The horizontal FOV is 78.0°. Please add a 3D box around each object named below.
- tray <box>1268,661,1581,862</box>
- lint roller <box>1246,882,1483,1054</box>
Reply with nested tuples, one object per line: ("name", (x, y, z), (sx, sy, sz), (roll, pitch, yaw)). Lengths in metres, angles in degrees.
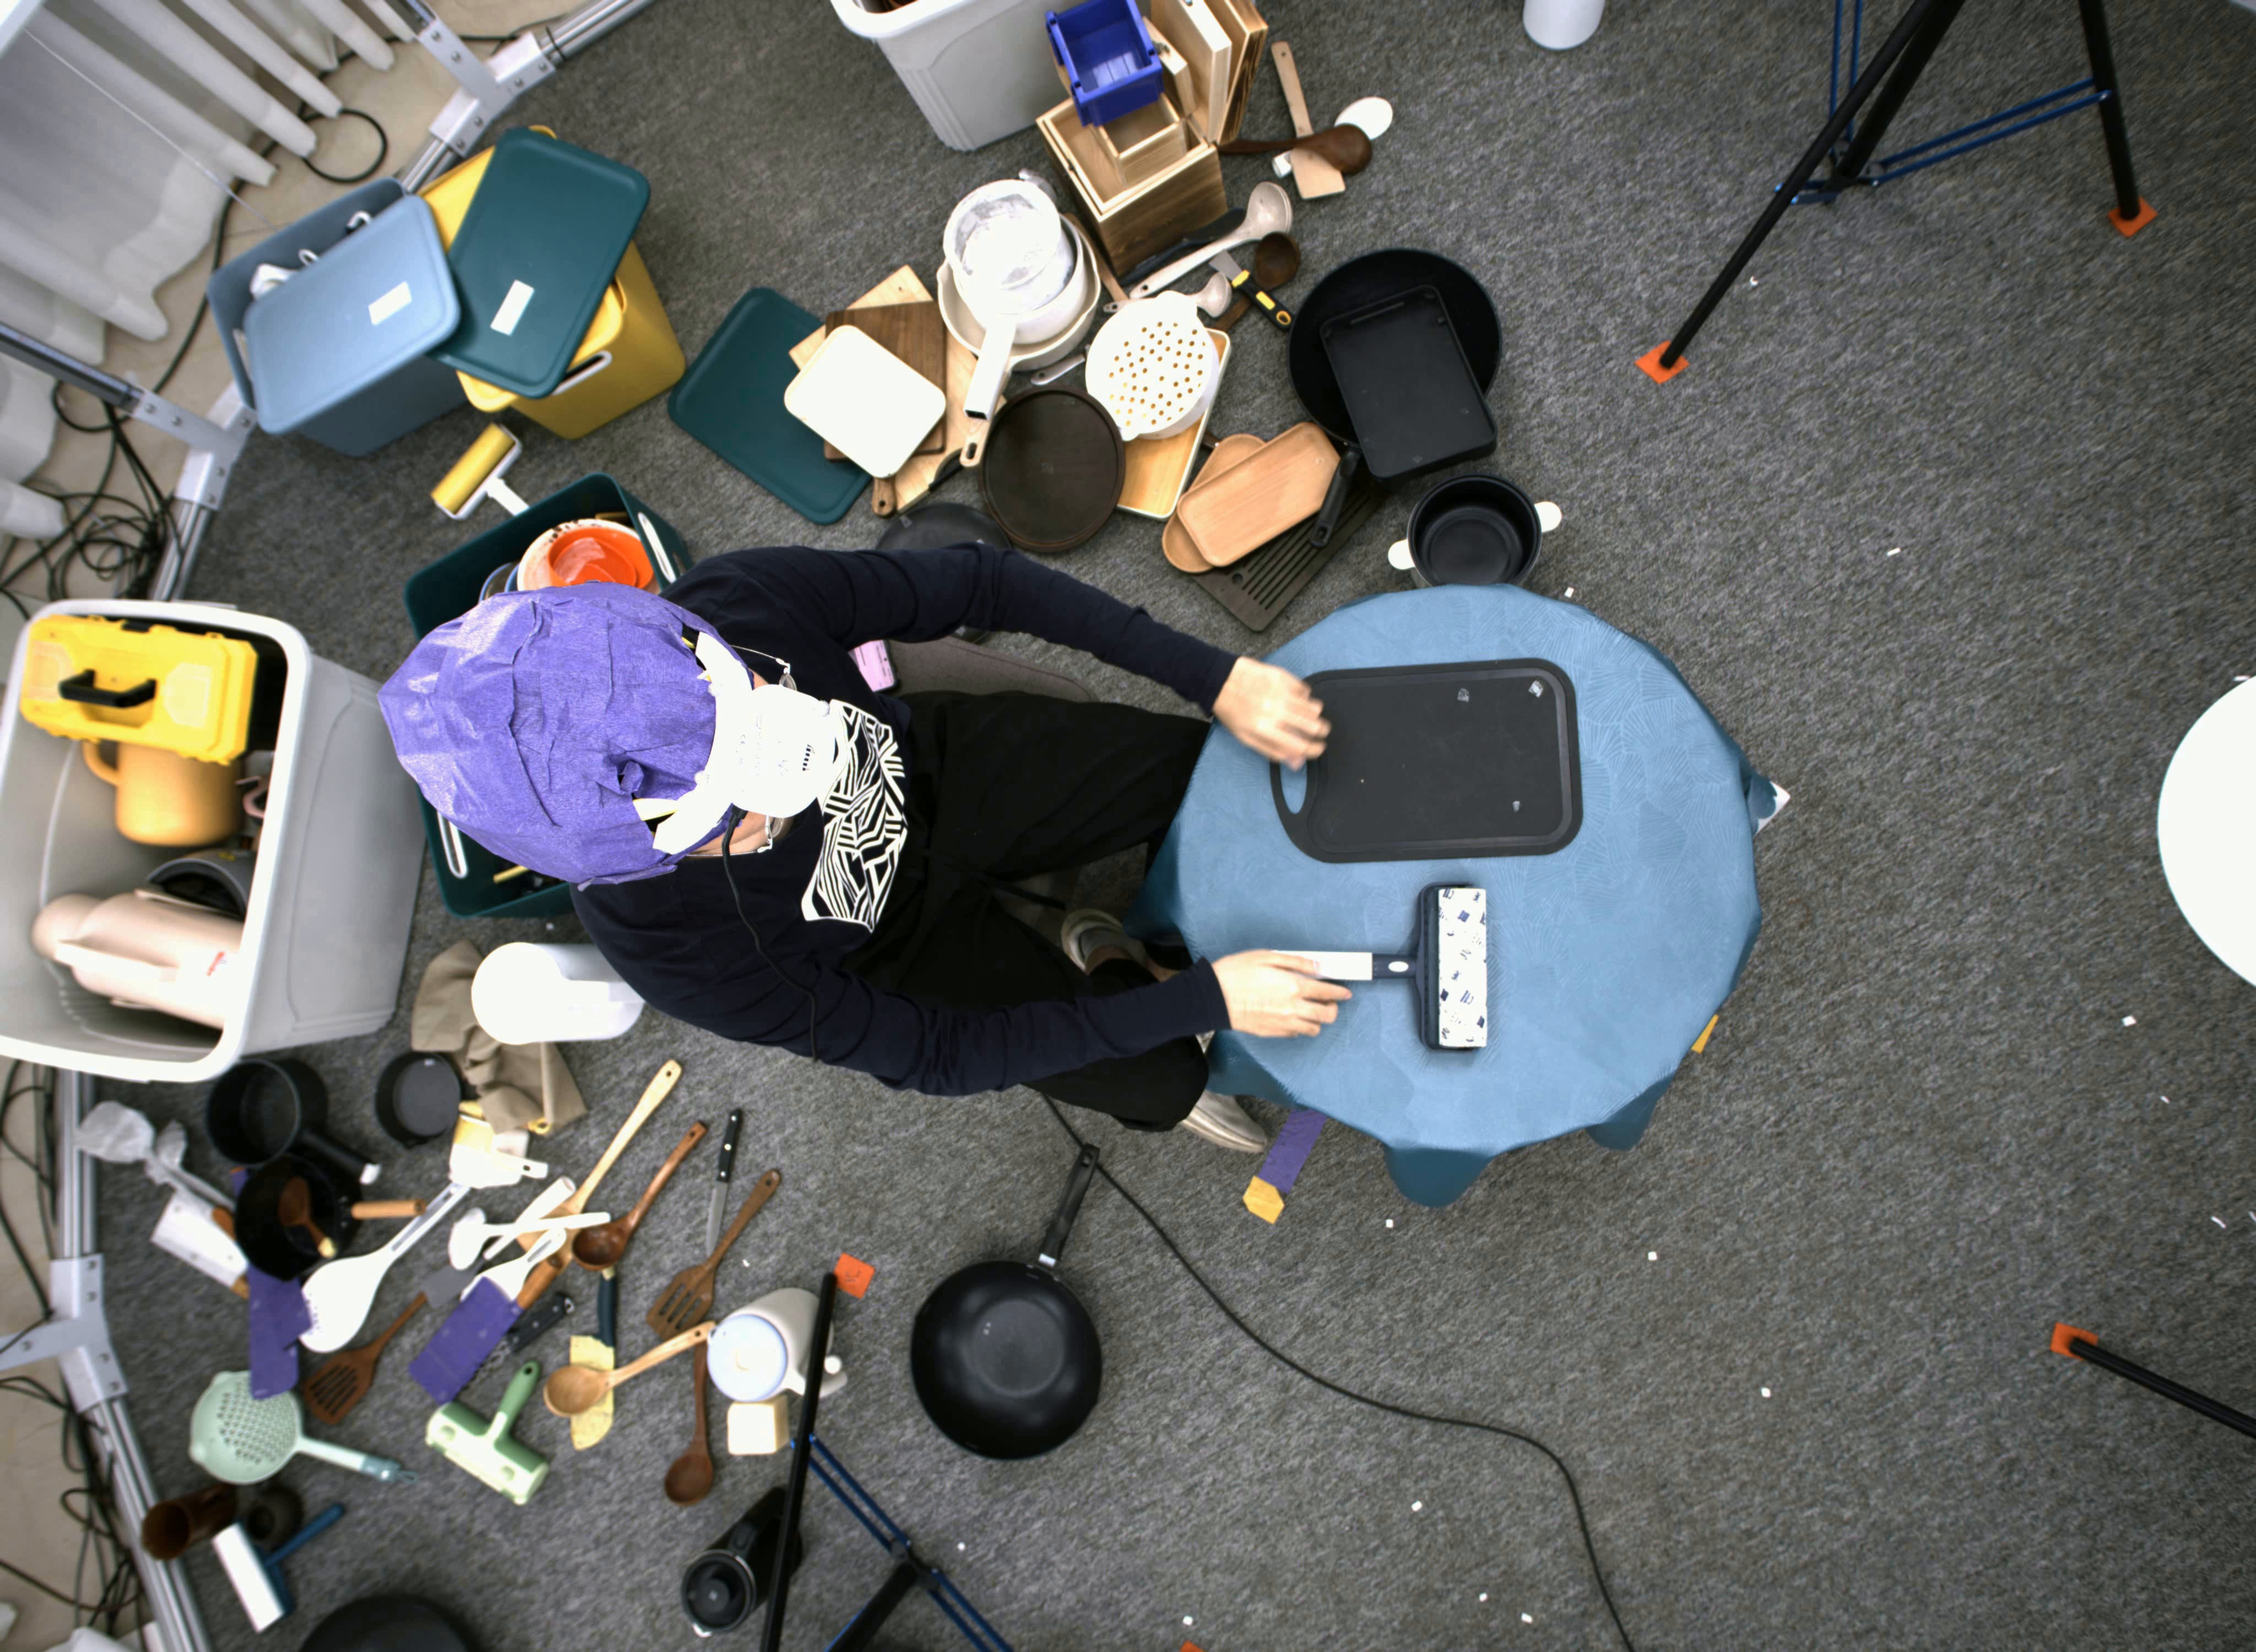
("tray", (0.311, -0.069, 1.457), (0.327, 0.010, 0.210), (-2, 86, 11))
("lint roller", (0.244, 0.146, 1.441), (0.248, 0.050, 0.175), (-1, 87, 13))
